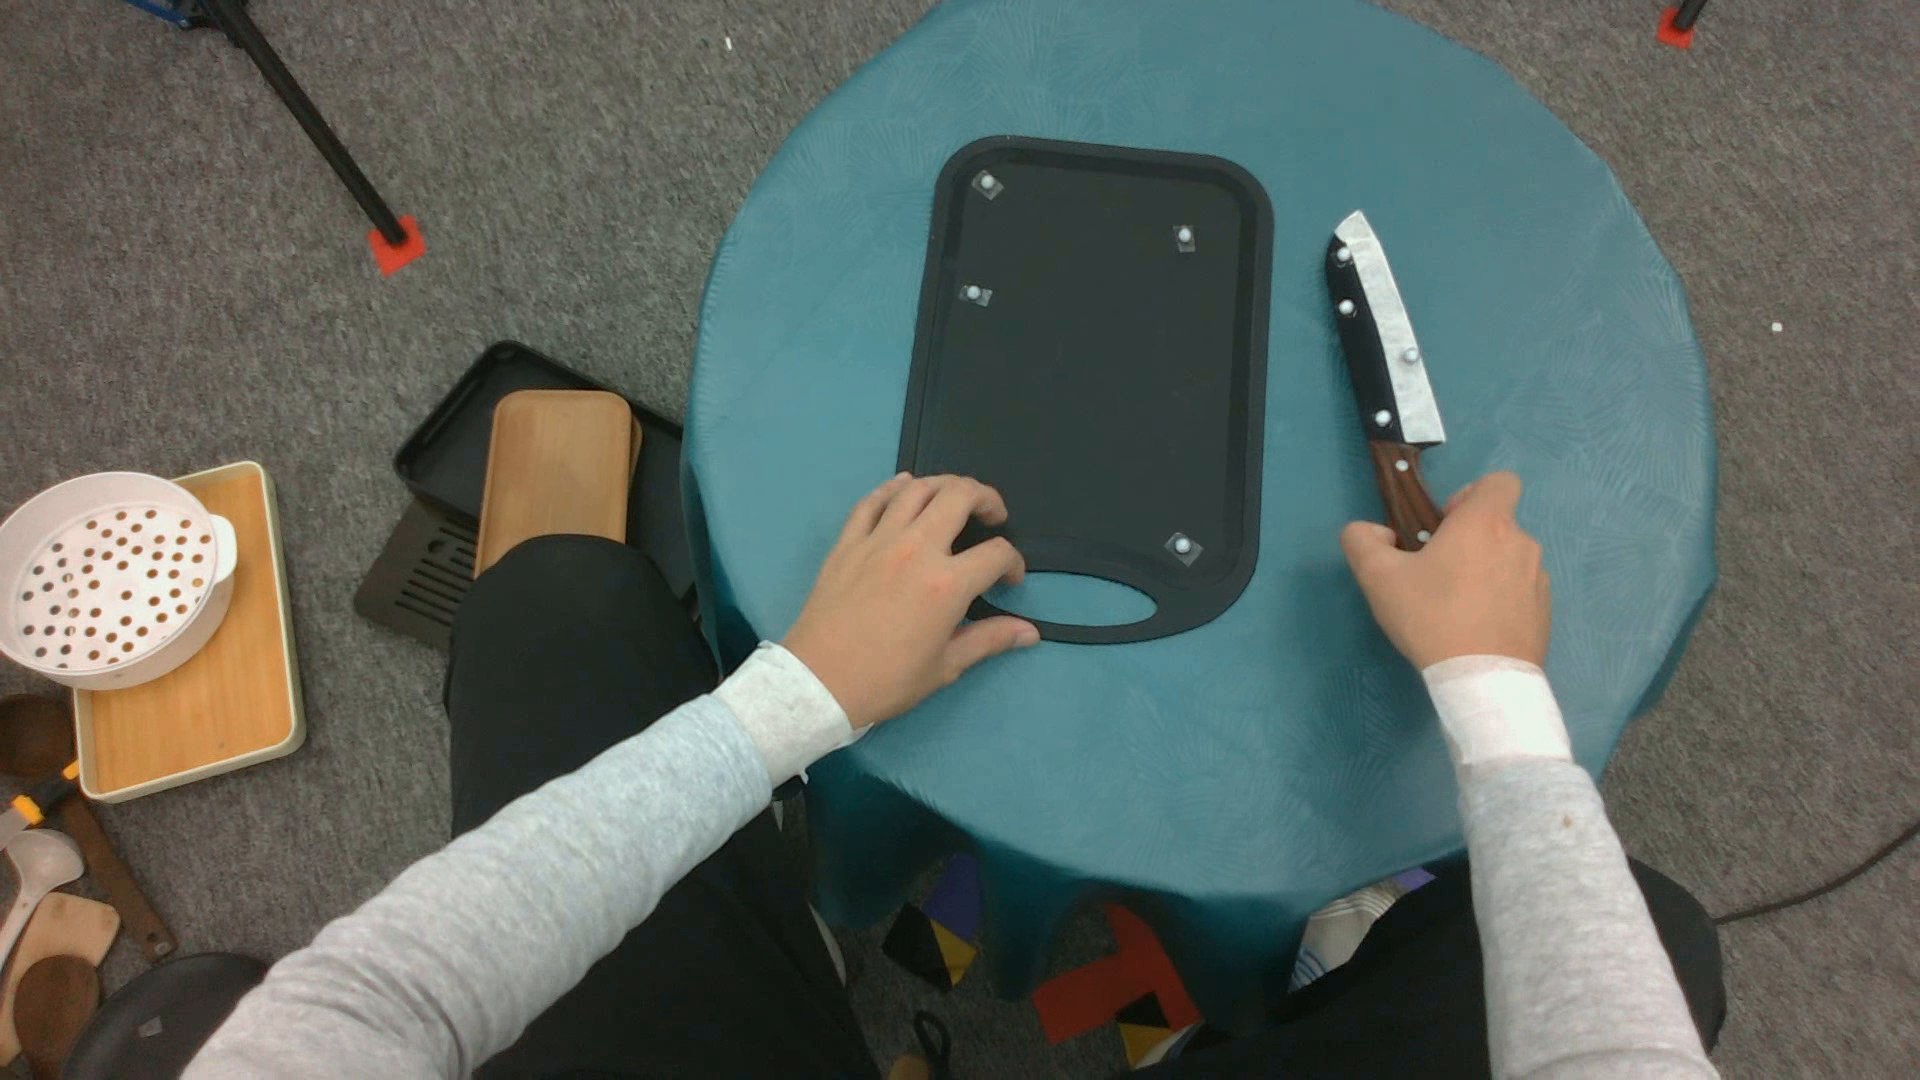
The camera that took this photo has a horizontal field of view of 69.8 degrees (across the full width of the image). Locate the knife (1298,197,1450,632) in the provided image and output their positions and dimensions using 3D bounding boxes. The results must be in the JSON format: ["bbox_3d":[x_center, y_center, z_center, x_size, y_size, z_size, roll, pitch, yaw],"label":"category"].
[{"bbox_3d":[0.236,-0.083,0.788,0.050,0.020,0.290,-2,64,-4],"label":"knife"}]

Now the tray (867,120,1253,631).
[{"bbox_3d":[0.063,-0.104,0.806,0.211,0.010,0.326,7,71,1],"label":"tray"}]
